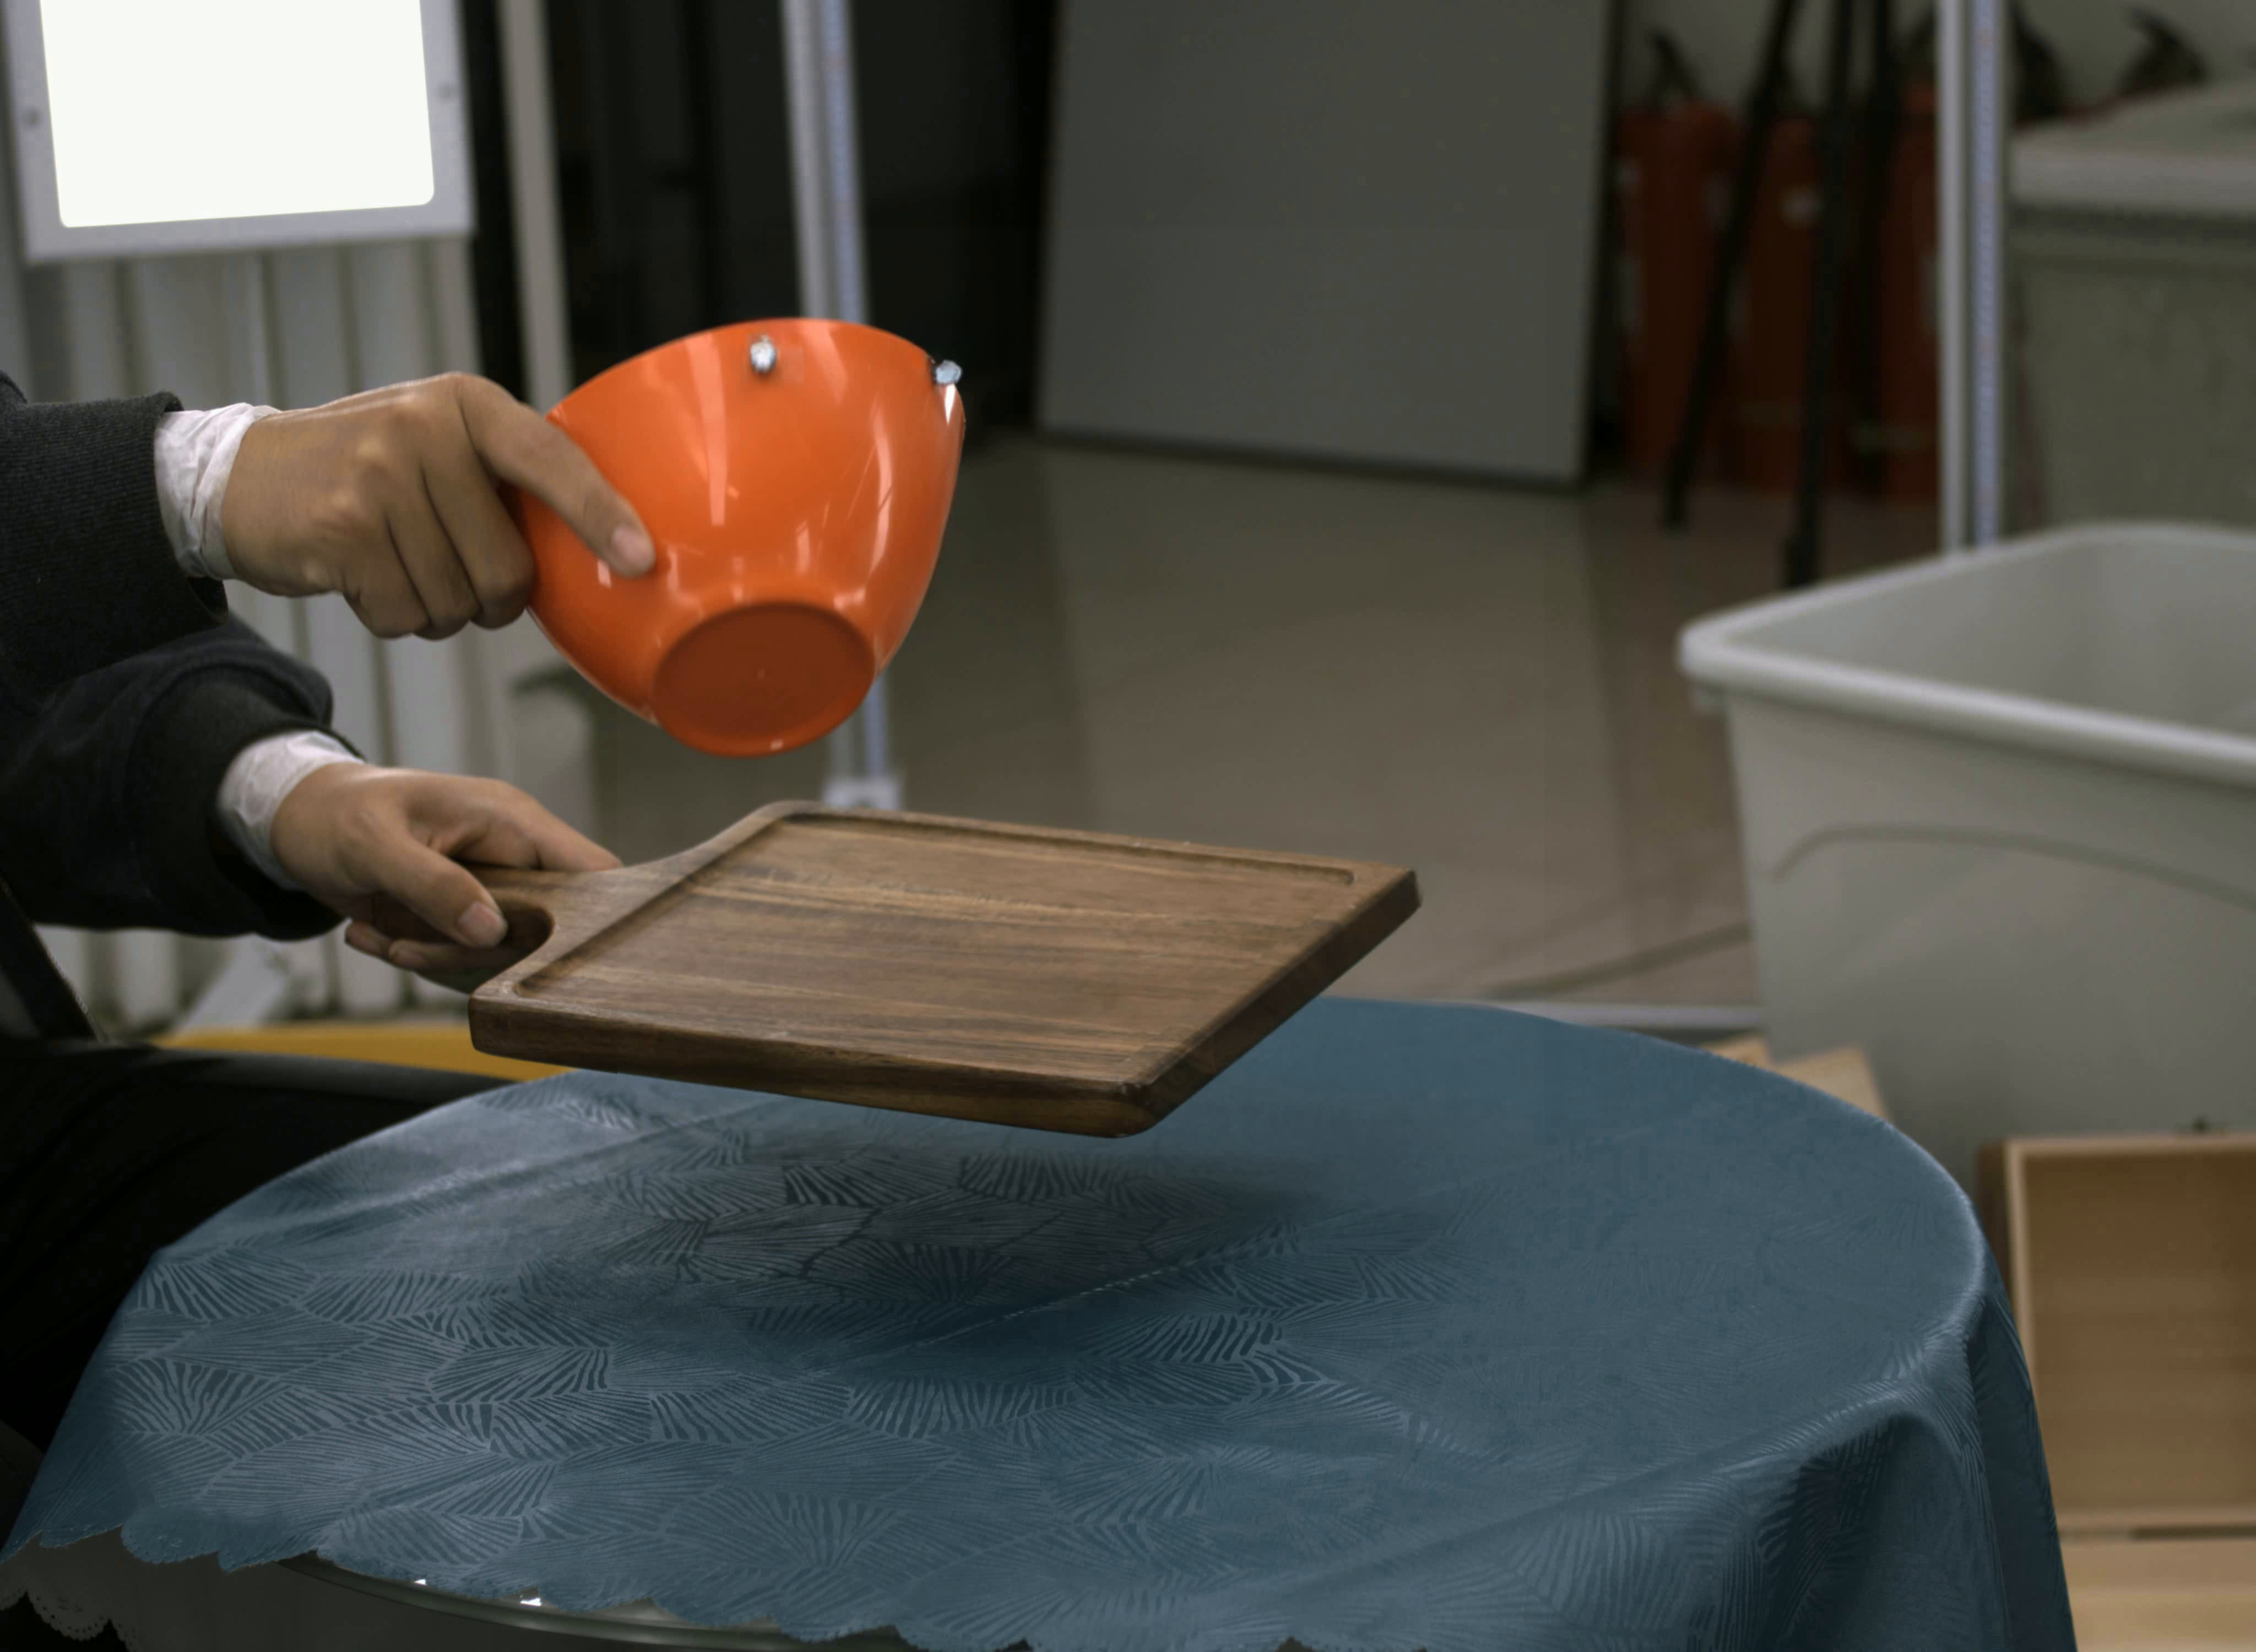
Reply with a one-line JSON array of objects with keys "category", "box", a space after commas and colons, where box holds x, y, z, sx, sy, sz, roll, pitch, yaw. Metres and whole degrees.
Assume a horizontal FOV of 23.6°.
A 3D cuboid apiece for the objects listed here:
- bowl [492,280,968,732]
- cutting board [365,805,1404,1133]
[{"category": "bowl", "box": [-0.109, -0.081, 1.587, 0.145, 0.149, 0.106, -6, 46, -11]}, {"category": "cutting board", "box": [-0.103, 0.038, 1.768, 0.353, 0.023, 0.198, 5, 22, 30]}]
